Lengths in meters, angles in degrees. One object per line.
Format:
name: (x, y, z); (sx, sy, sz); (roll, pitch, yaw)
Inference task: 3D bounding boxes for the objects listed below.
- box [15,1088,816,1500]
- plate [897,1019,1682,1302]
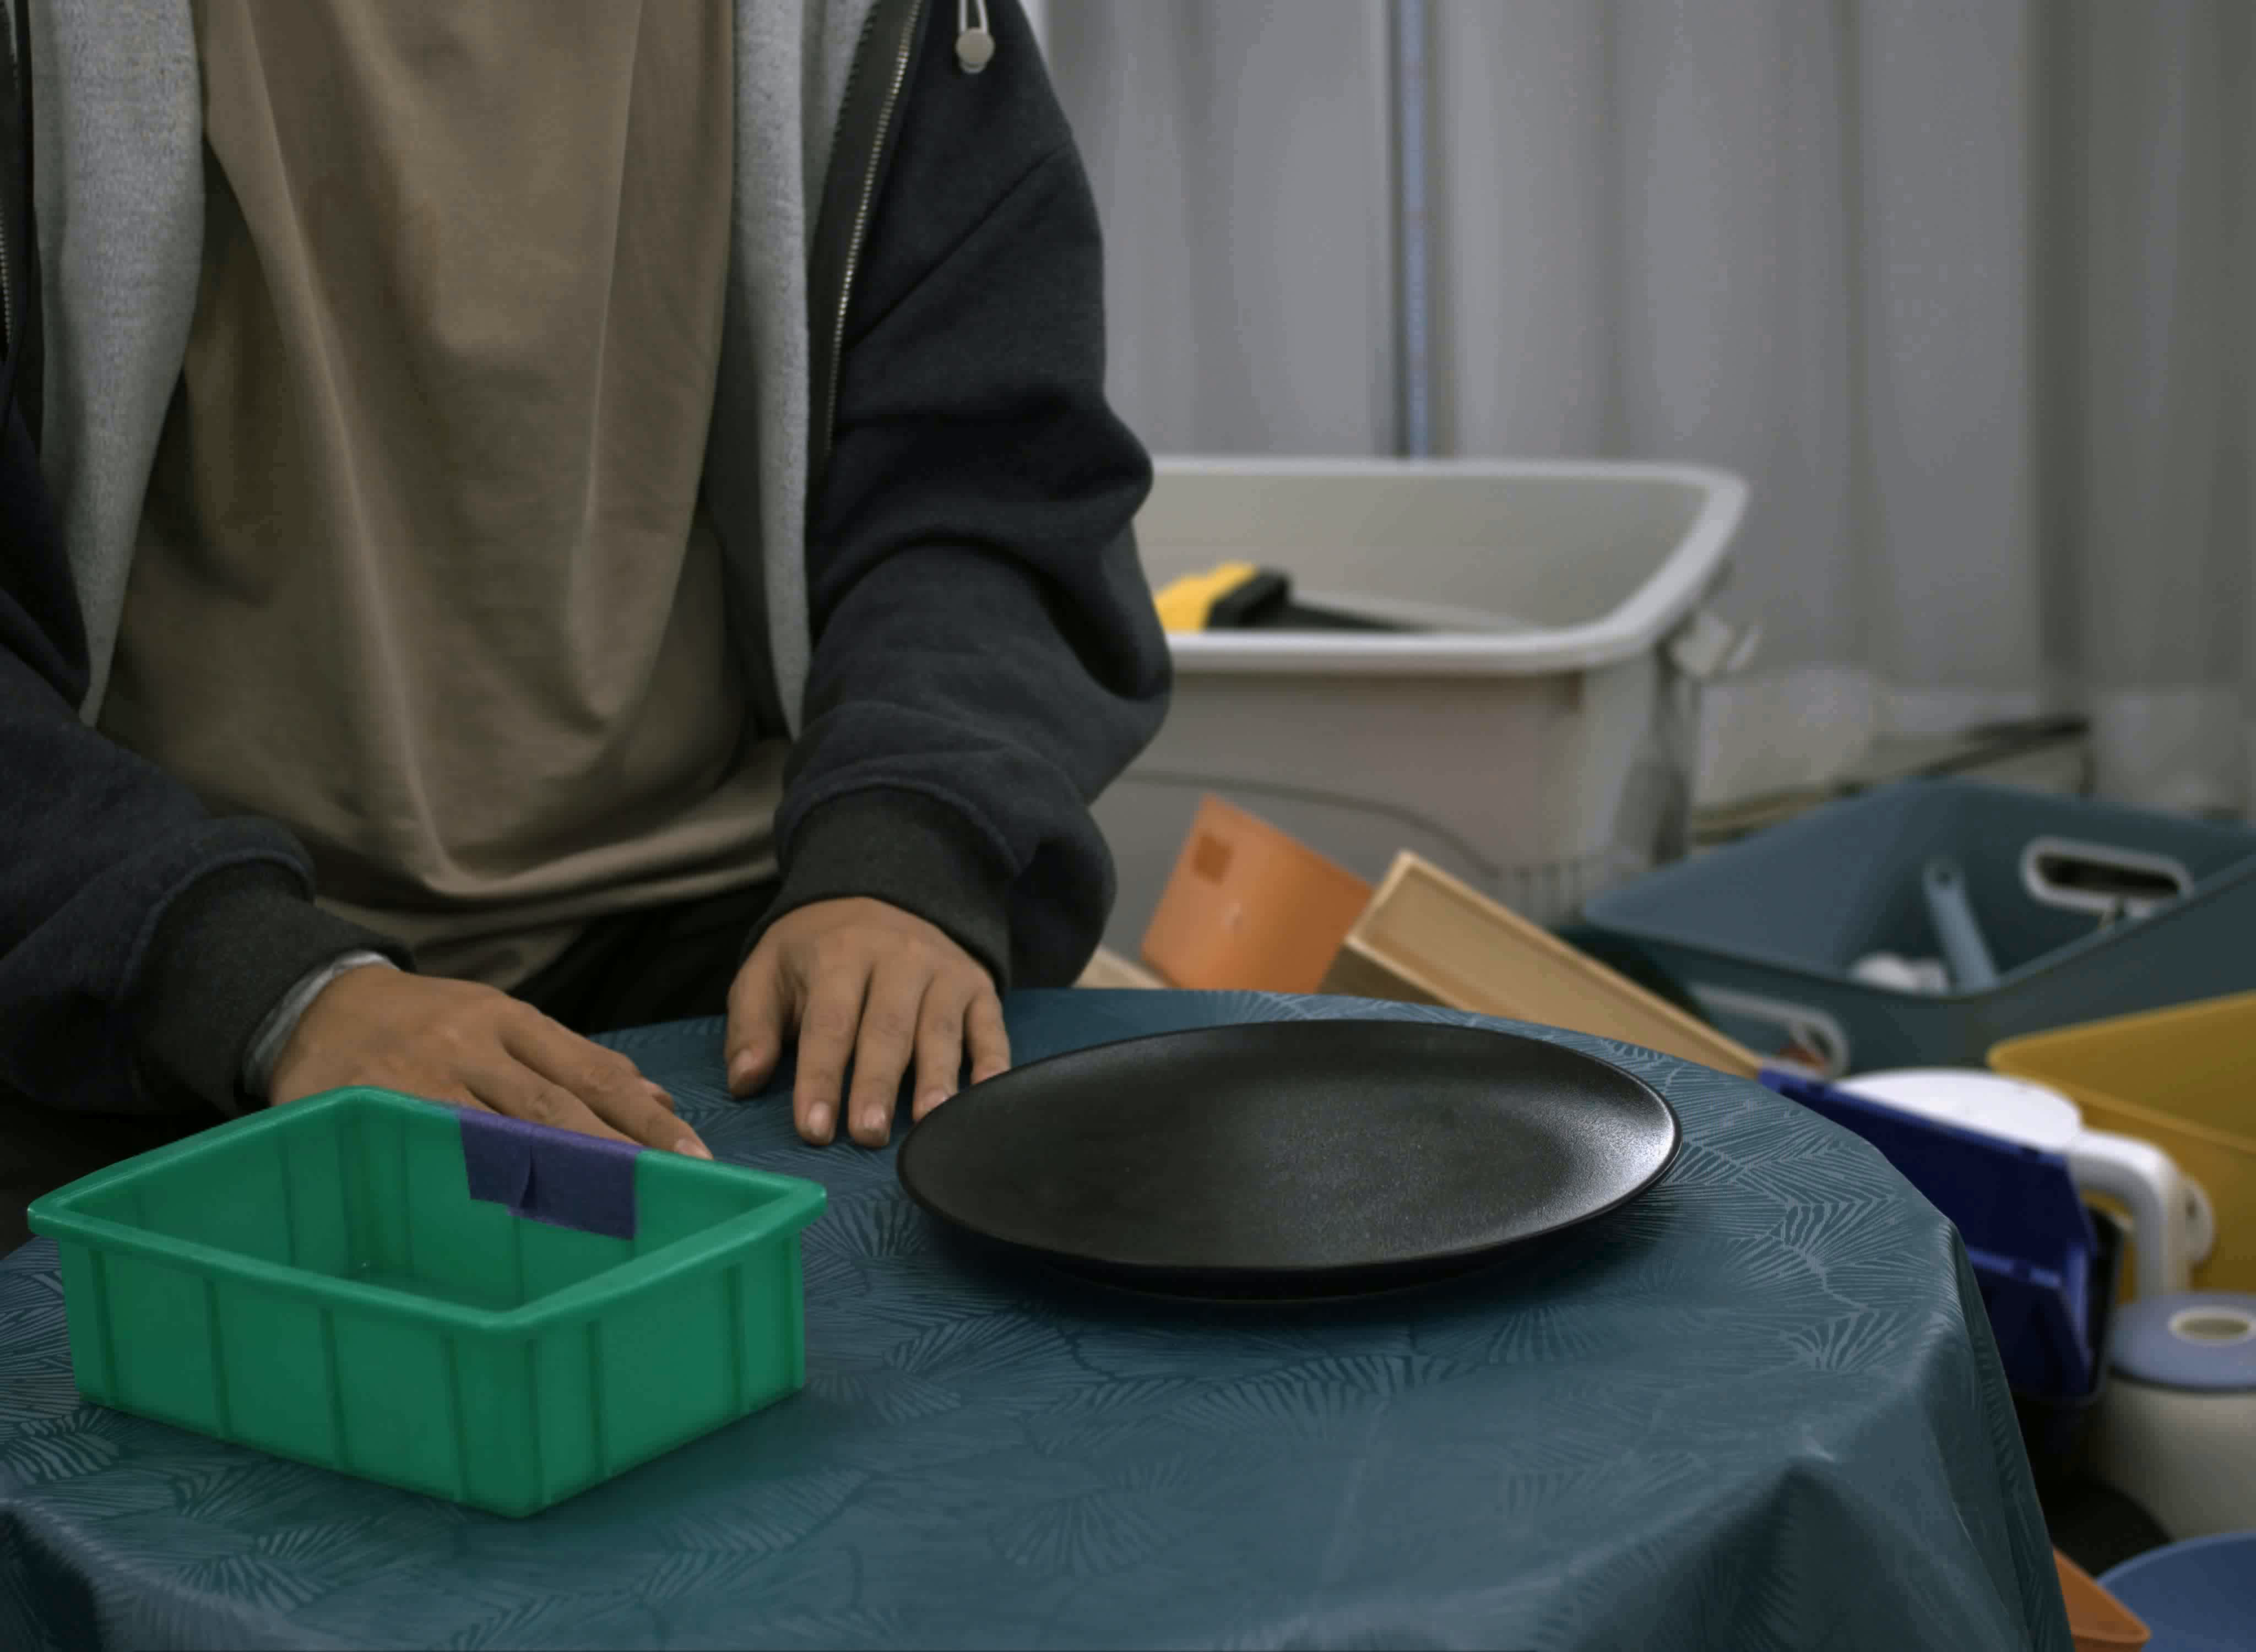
box: (-0.202, 0.133, 1.565); (0.211, 0.065, 0.138); (6, 15, 37)
plate: (0.050, 0.106, 1.694); (0.243, 0.023, 0.246); (-3, 15, 1)
